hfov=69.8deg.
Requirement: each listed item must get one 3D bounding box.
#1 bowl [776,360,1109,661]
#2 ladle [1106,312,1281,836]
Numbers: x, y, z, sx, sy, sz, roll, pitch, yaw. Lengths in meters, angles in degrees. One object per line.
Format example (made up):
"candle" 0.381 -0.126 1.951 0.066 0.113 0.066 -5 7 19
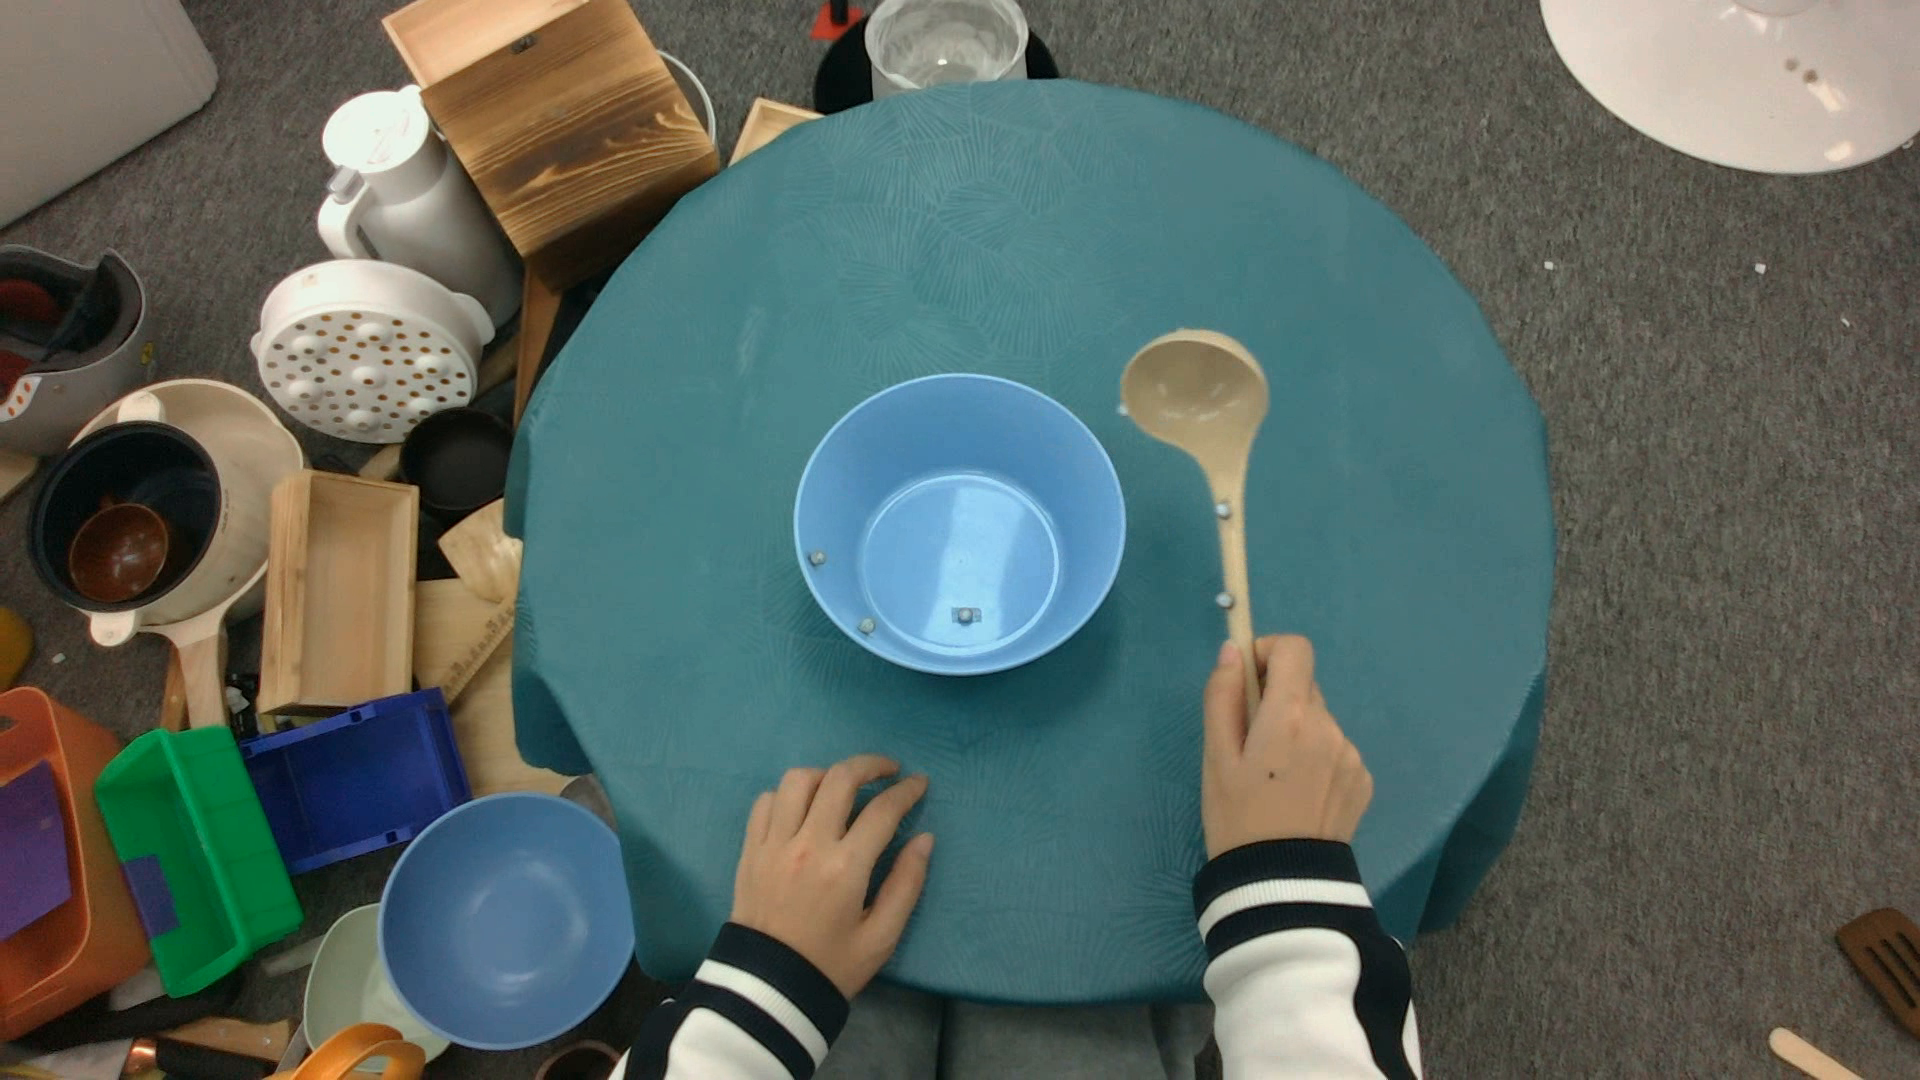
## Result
"bowl" -0.009 -0.007 0.753 0.176 0.070 0.176 0 65 0
"ladle" 0.117 0.012 0.663 0.072 0.073 0.255 -15 68 31
